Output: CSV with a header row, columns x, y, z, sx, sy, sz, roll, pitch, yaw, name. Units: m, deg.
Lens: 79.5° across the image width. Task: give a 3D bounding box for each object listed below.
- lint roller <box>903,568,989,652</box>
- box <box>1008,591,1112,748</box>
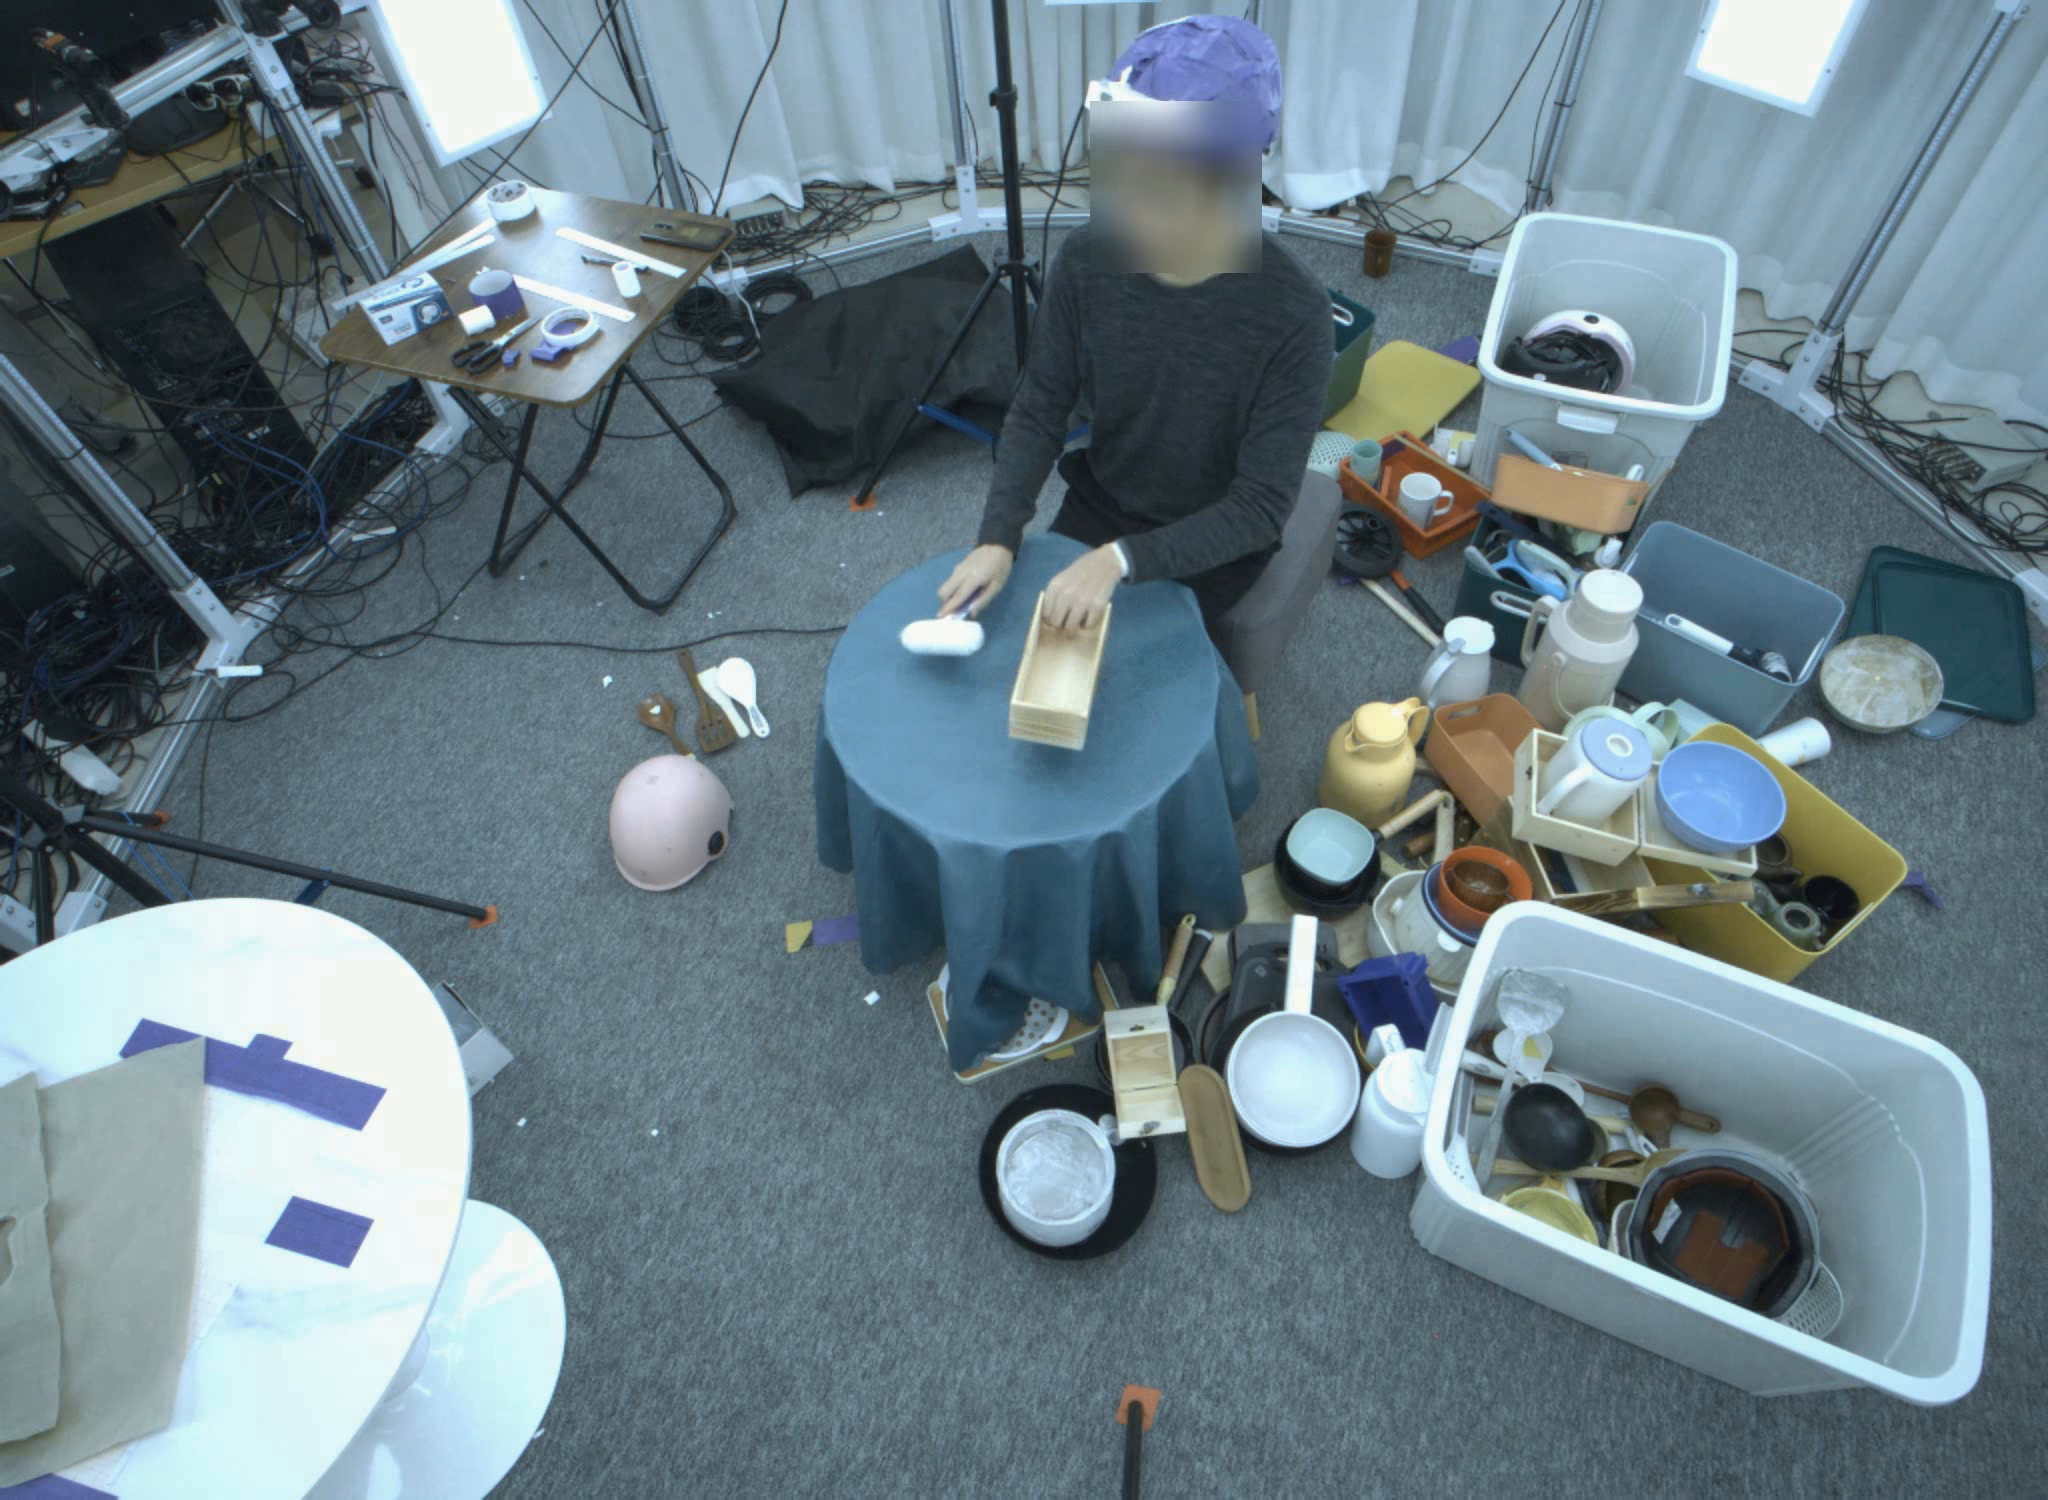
x,y,z,sx,sy,sz,roll,pitch,yaw,name
-0.098,-0.222,1.864,0.130,0.051,0.180,6,57,29,lint roller
0.051,-0.116,1.736,0.107,0.081,0.210,11,55,4,box
